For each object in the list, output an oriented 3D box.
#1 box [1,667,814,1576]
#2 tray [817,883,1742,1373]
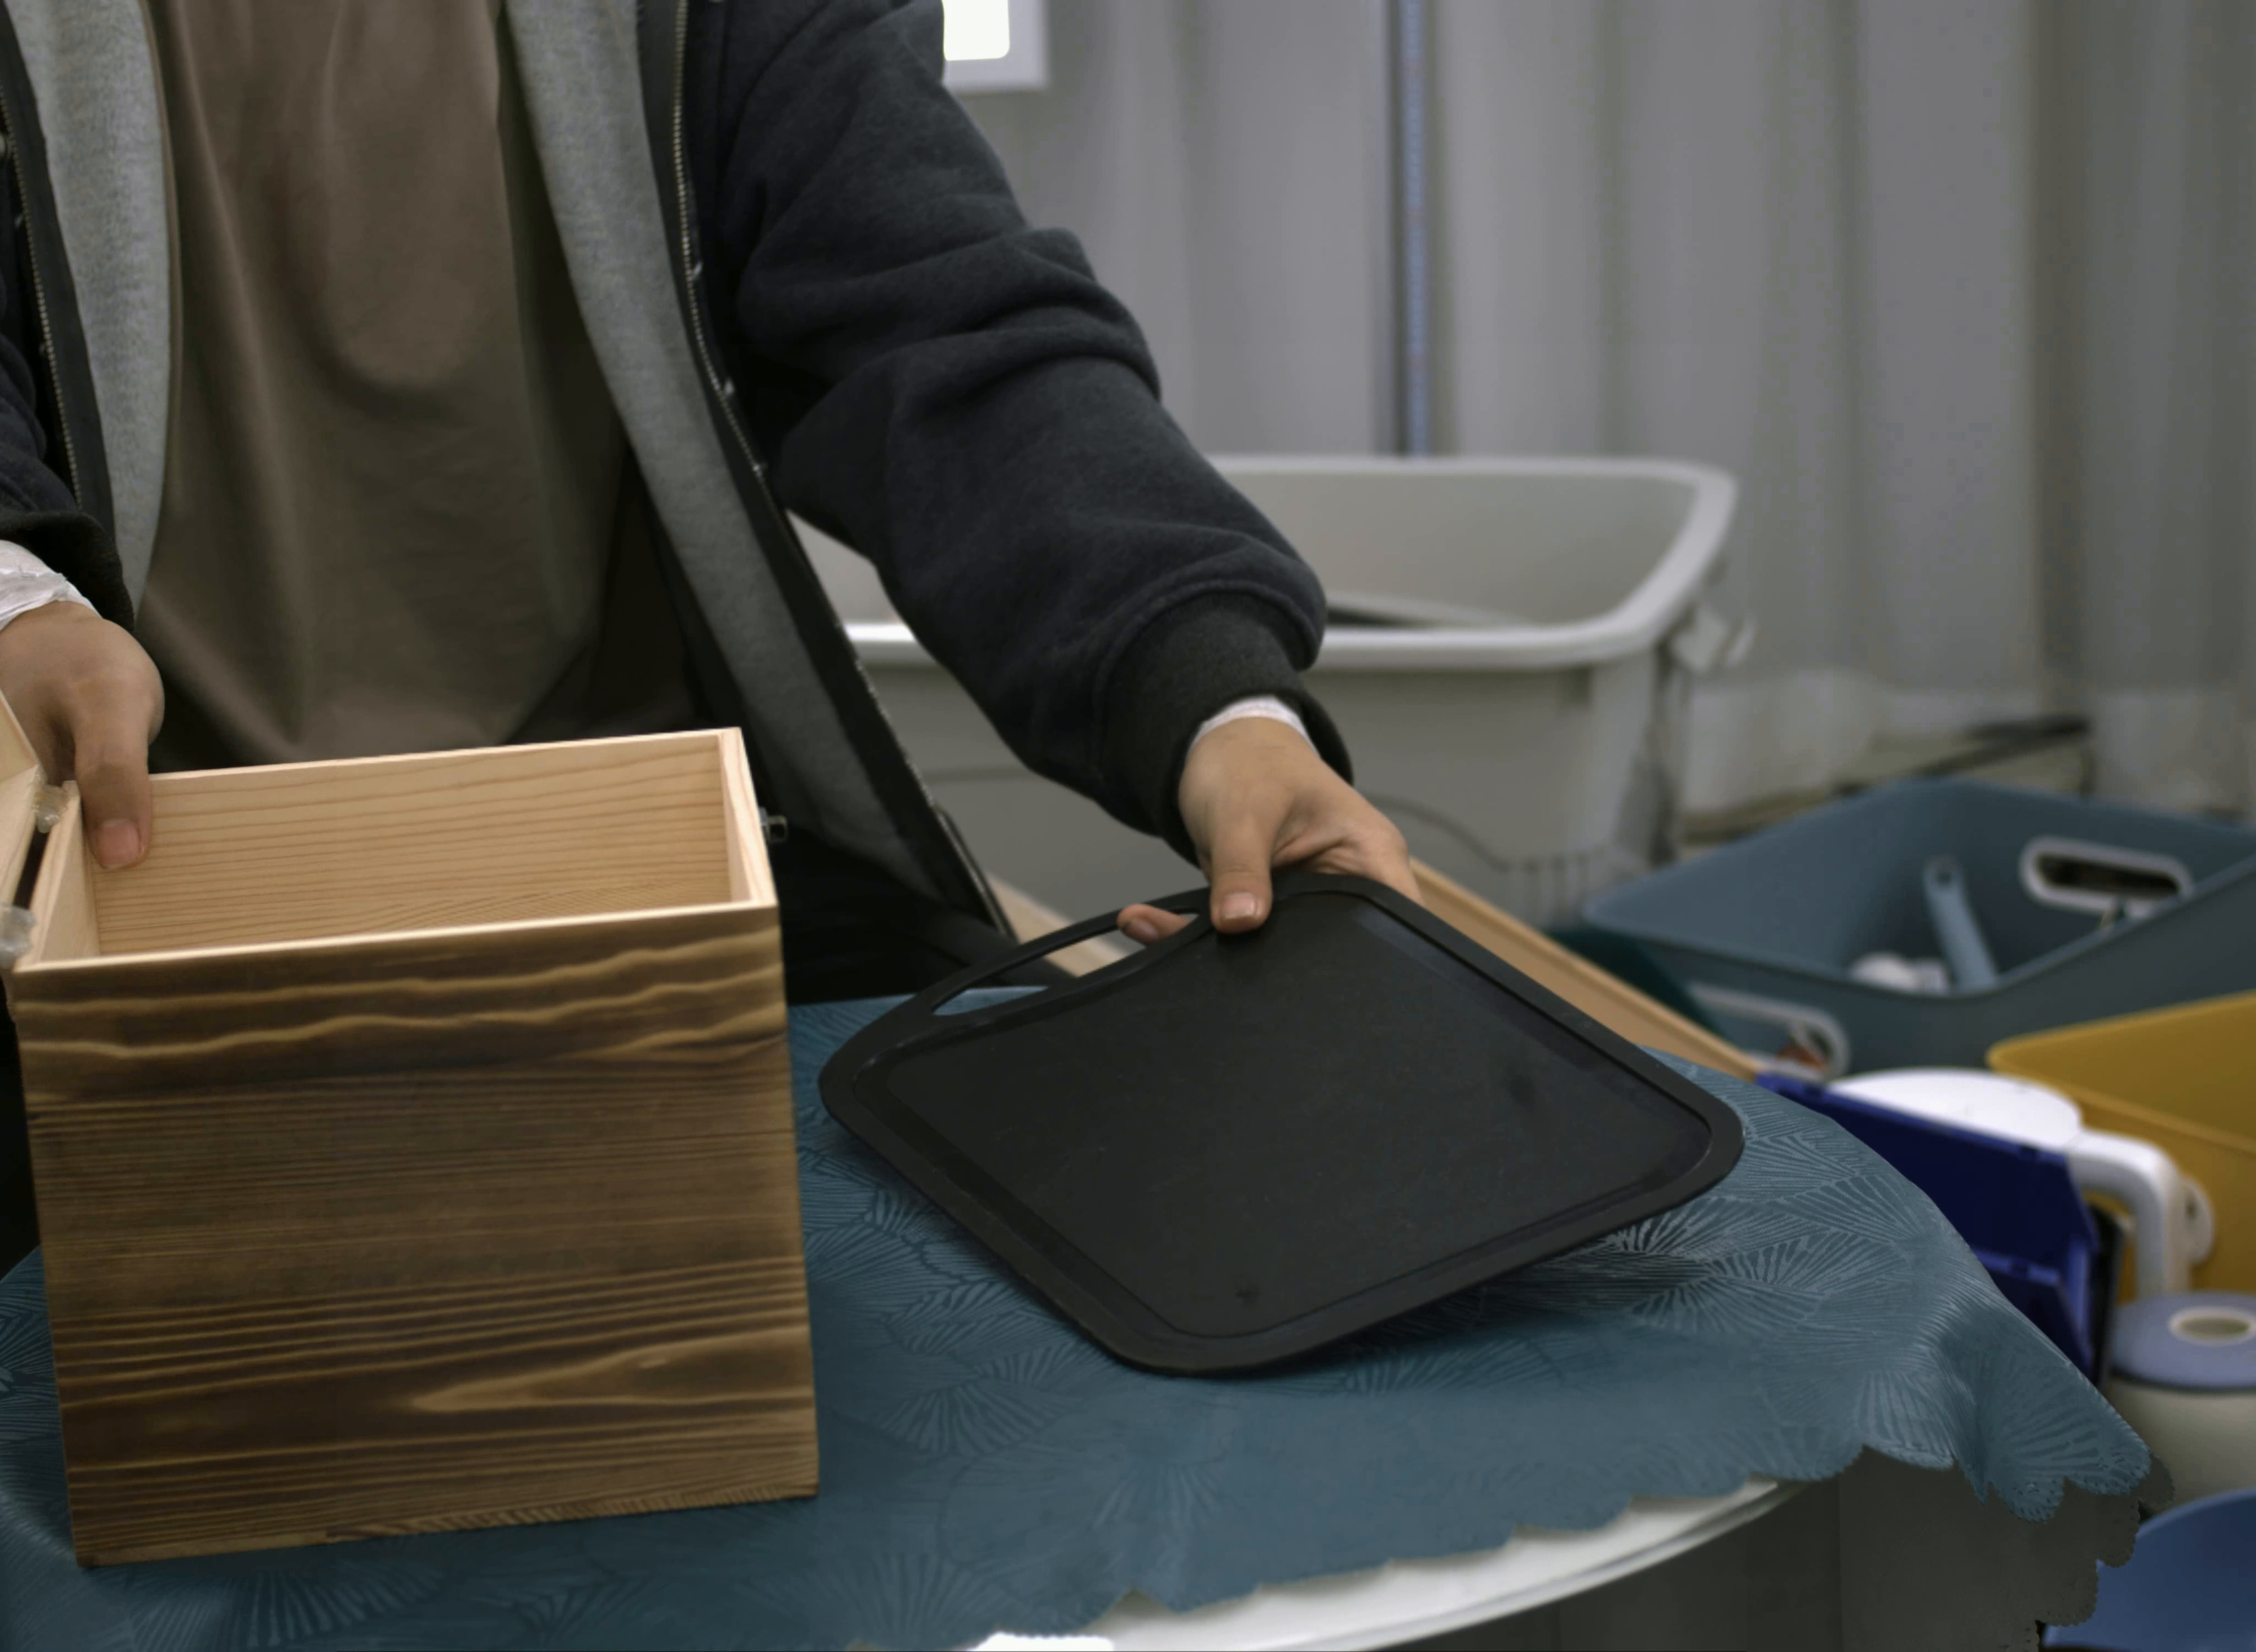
[{"bbox_3d":[-0.253,-0.003,1.514,0.321,0.374,0.210,-5,15,-6],"label":"box"},{"bbox_3d":[0.036,0.085,1.708,0.210,0.010,0.328,-20,24,-19],"label":"tray"}]
